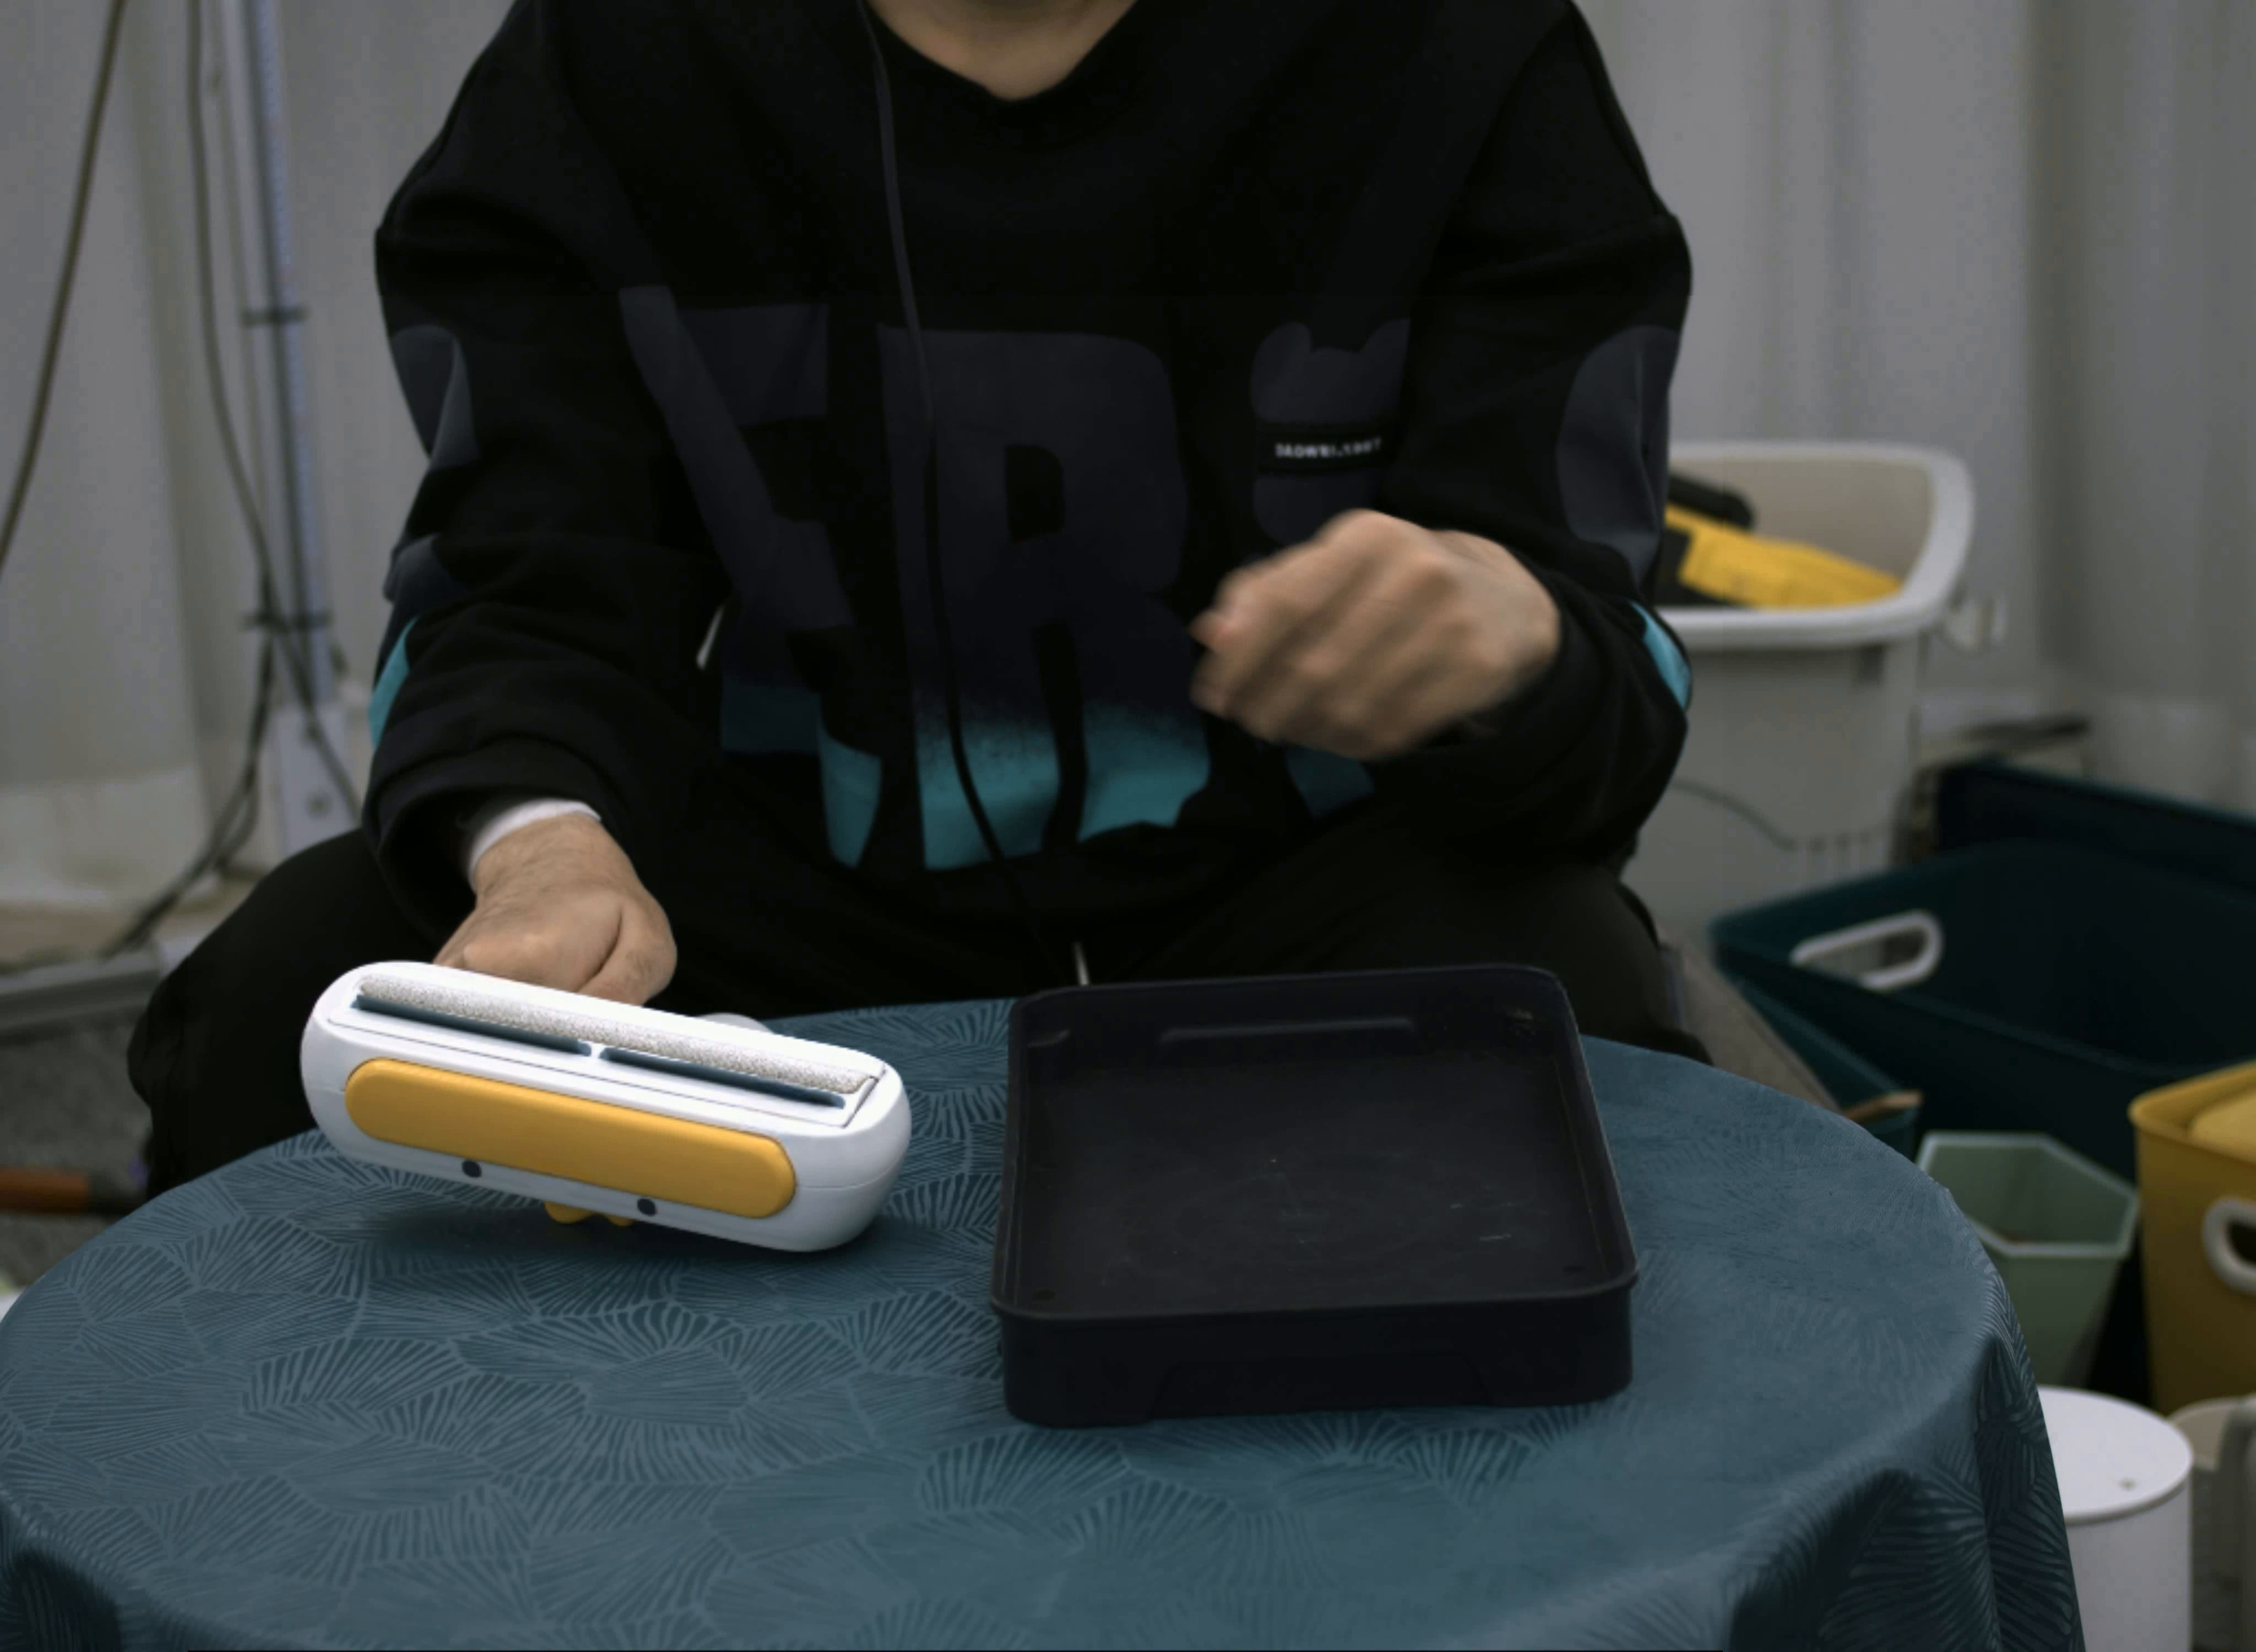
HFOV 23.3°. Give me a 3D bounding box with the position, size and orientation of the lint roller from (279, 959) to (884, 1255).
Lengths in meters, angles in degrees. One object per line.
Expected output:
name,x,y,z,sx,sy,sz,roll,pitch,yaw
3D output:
lint roller,-0.152,0.079,1.750,0.193,0.074,0.193,7,16,17

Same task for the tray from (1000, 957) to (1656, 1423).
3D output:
tray,0.054,0.106,1.668,0.183,0.037,0.320,-4,15,0
